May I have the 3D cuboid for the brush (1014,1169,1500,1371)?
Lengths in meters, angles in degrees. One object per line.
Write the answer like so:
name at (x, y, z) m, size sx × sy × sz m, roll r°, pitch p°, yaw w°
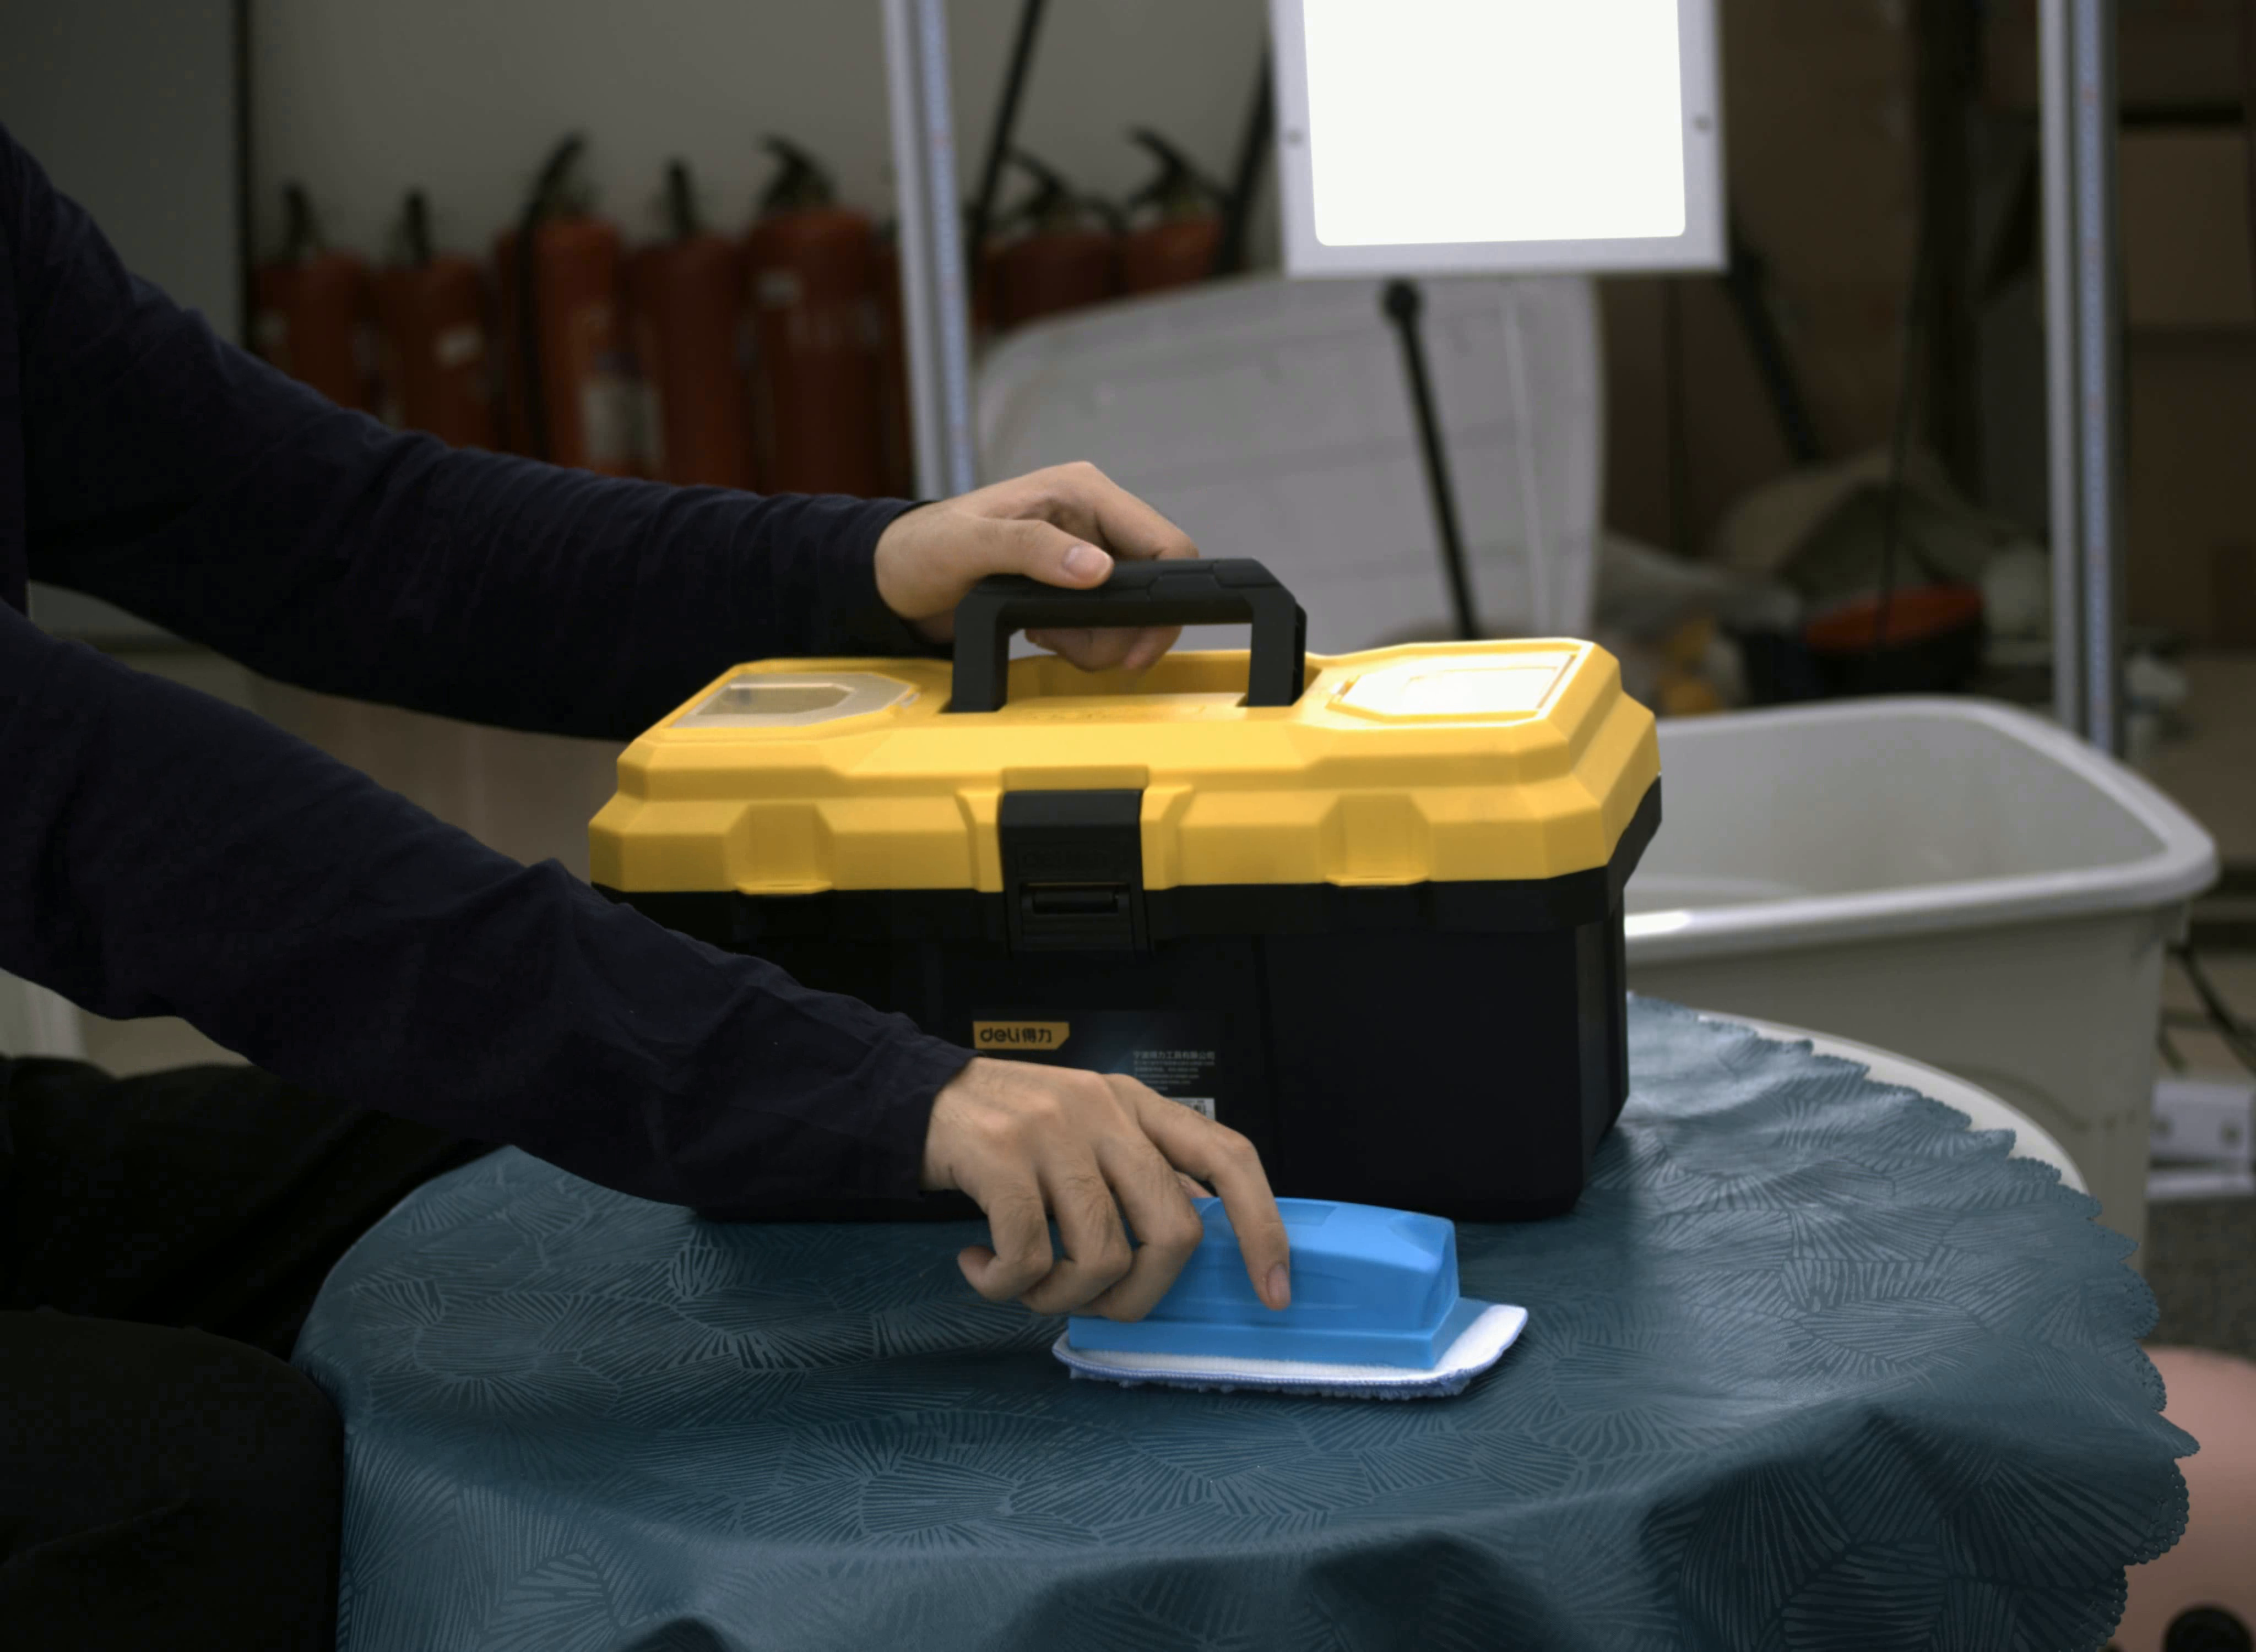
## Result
brush at (0.041, 0.137, 1.709) m, size 0.146 × 0.056 × 0.082 m, roll 3°, pitch 12°, yaw 24°

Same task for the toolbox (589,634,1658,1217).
toolbox at (0.003, 0.036, 1.901) m, size 0.355 × 0.173 × 0.179 m, roll -1°, pitch 14°, yaw 16°
